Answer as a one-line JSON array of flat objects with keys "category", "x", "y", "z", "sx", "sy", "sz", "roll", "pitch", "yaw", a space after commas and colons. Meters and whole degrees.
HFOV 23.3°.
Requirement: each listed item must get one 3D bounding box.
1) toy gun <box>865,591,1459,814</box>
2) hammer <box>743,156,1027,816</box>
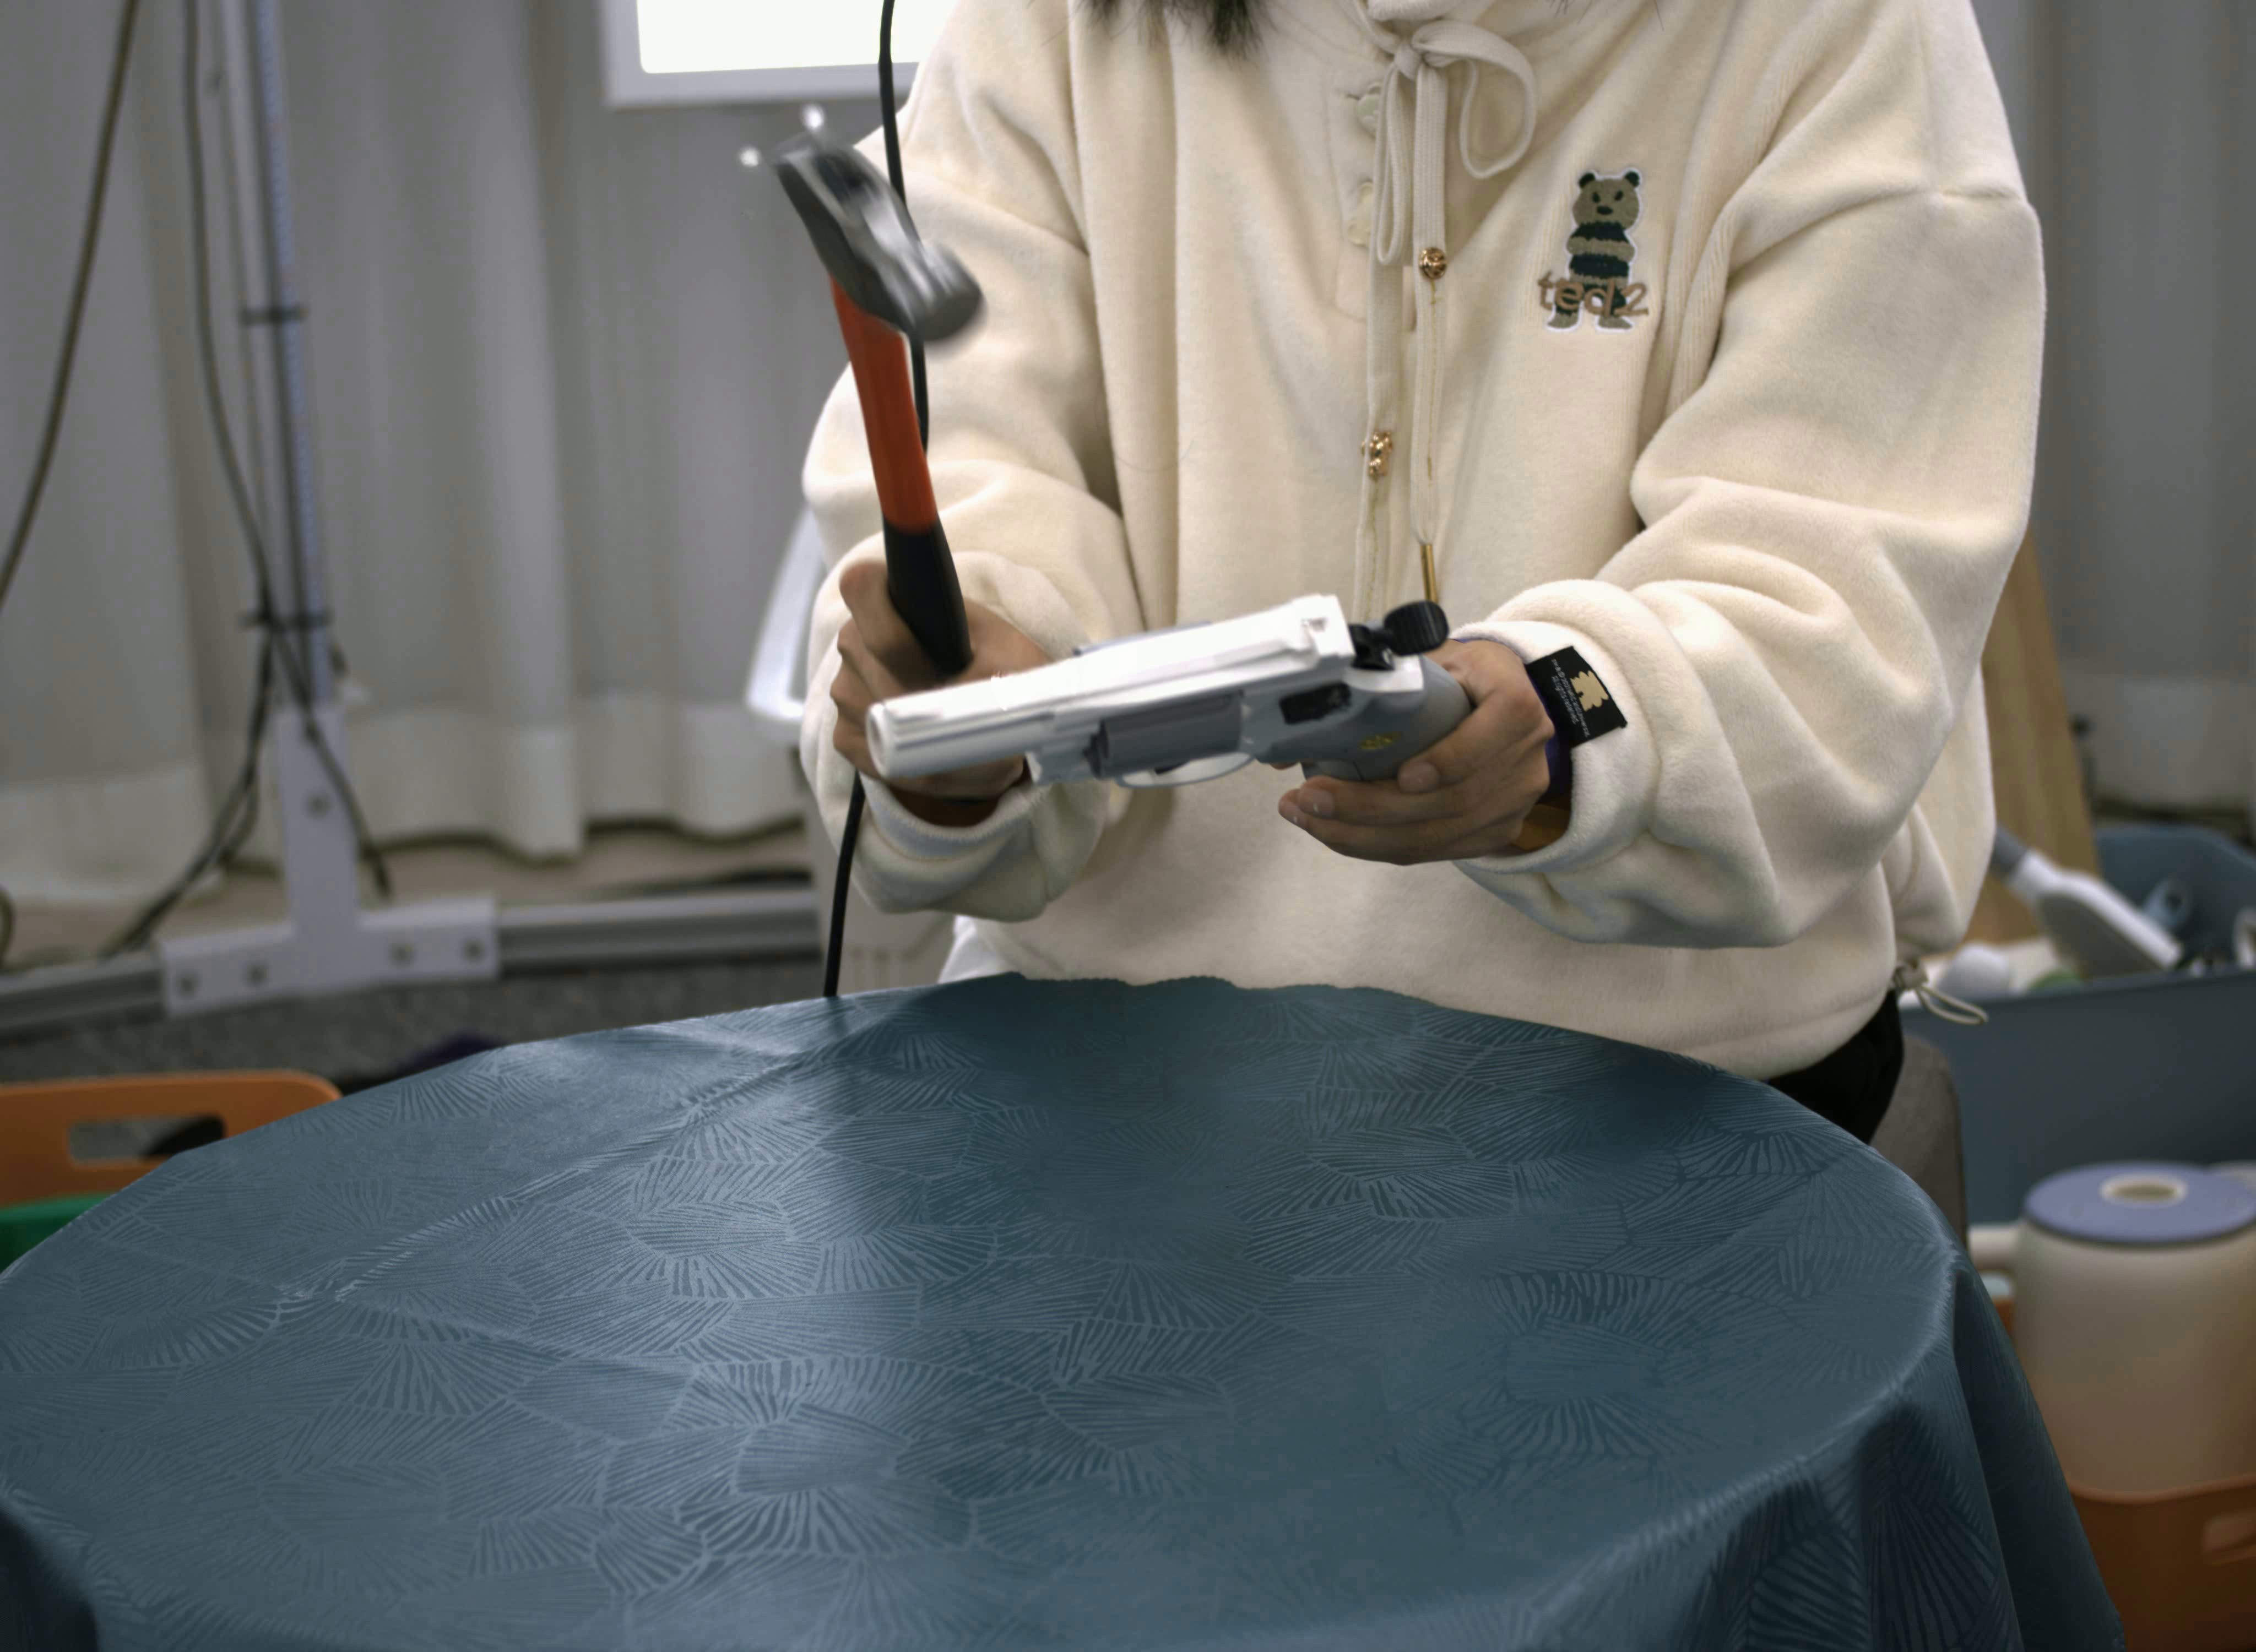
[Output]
[{"category": "toy gun", "x": 0.015, "y": -0.030, "z": 1.580, "sx": 0.208, "sy": 0.039, "sz": 0.141, "roll": -10, "pitch": -16, "yaw": -18}, {"category": "hammer", "x": -0.064, "y": -0.098, "z": 1.688, "sx": 0.026, "sy": 0.274, "sz": 0.112, "roll": -36, "pitch": 57, "yaw": -21}]
